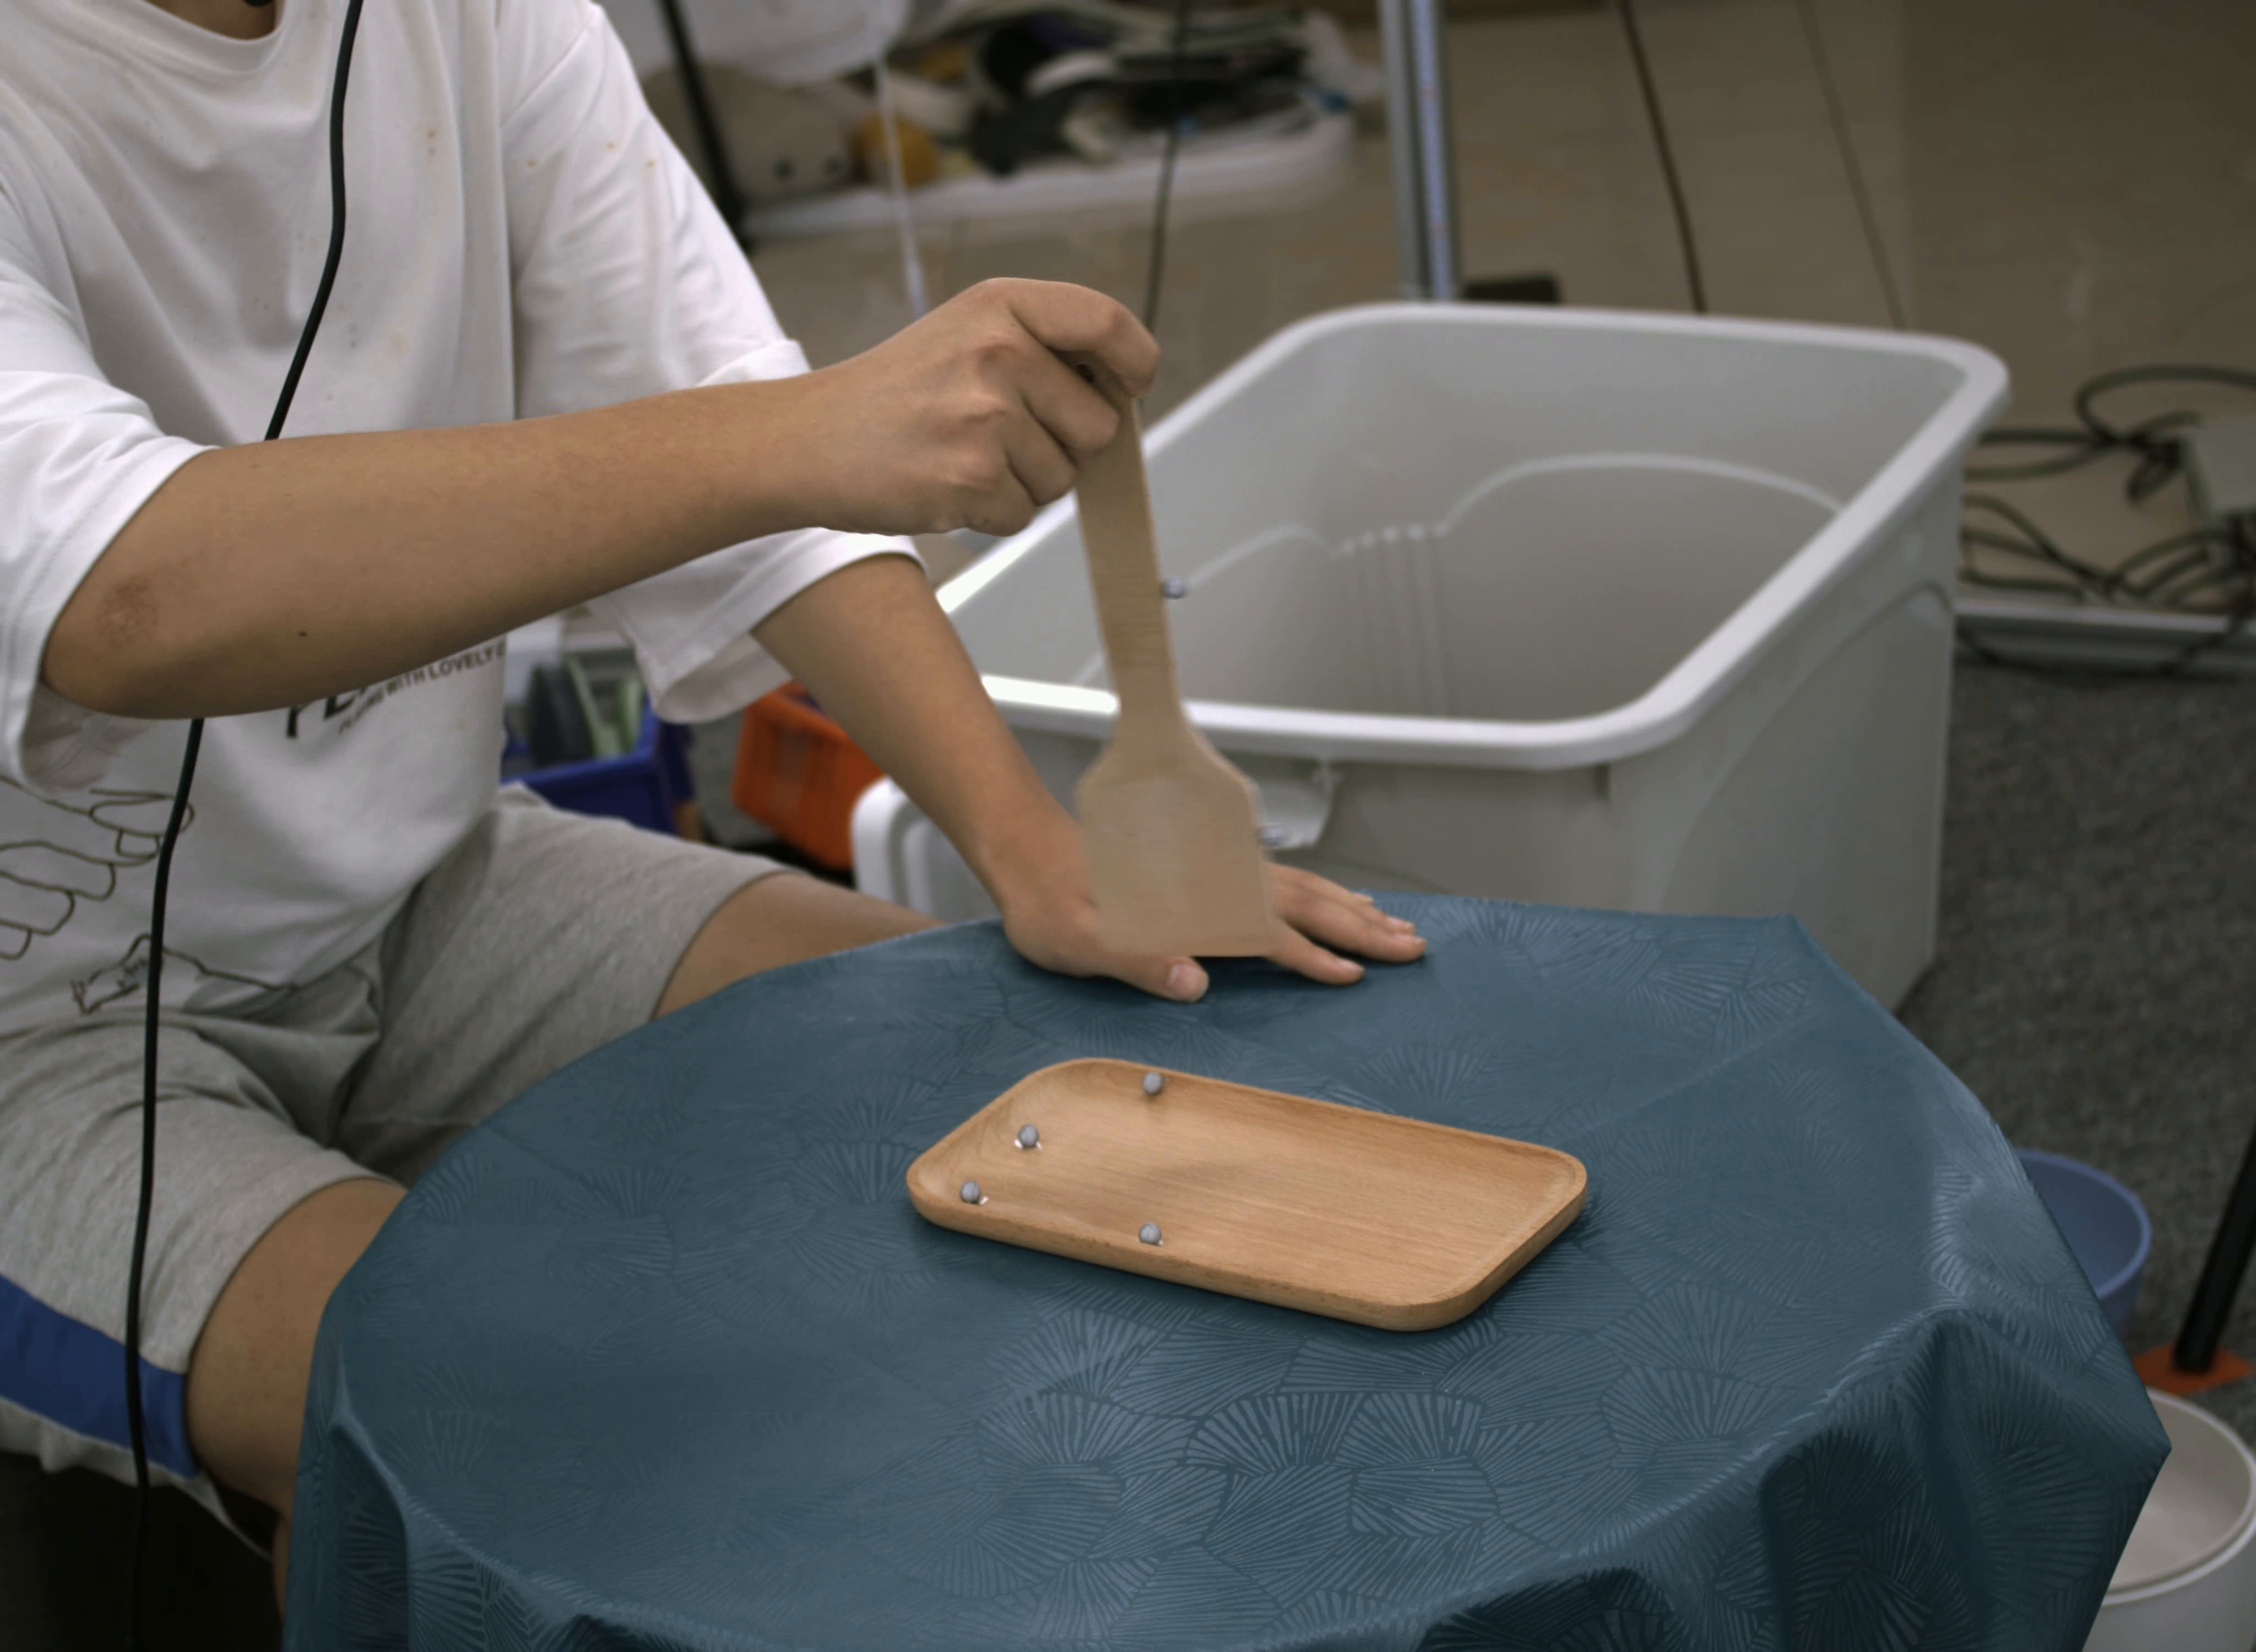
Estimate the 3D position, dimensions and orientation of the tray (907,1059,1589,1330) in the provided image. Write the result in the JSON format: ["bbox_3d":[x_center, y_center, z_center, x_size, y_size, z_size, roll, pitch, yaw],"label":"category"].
[{"bbox_3d":[0.044,0.136,2.120,0.249,0.023,0.129,11,32,34],"label":"tray"}]

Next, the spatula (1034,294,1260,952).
[{"bbox_3d":[-0.001,-0.068,2.049,0.072,0.299,0.010,1,39,13],"label":"spatula"}]
